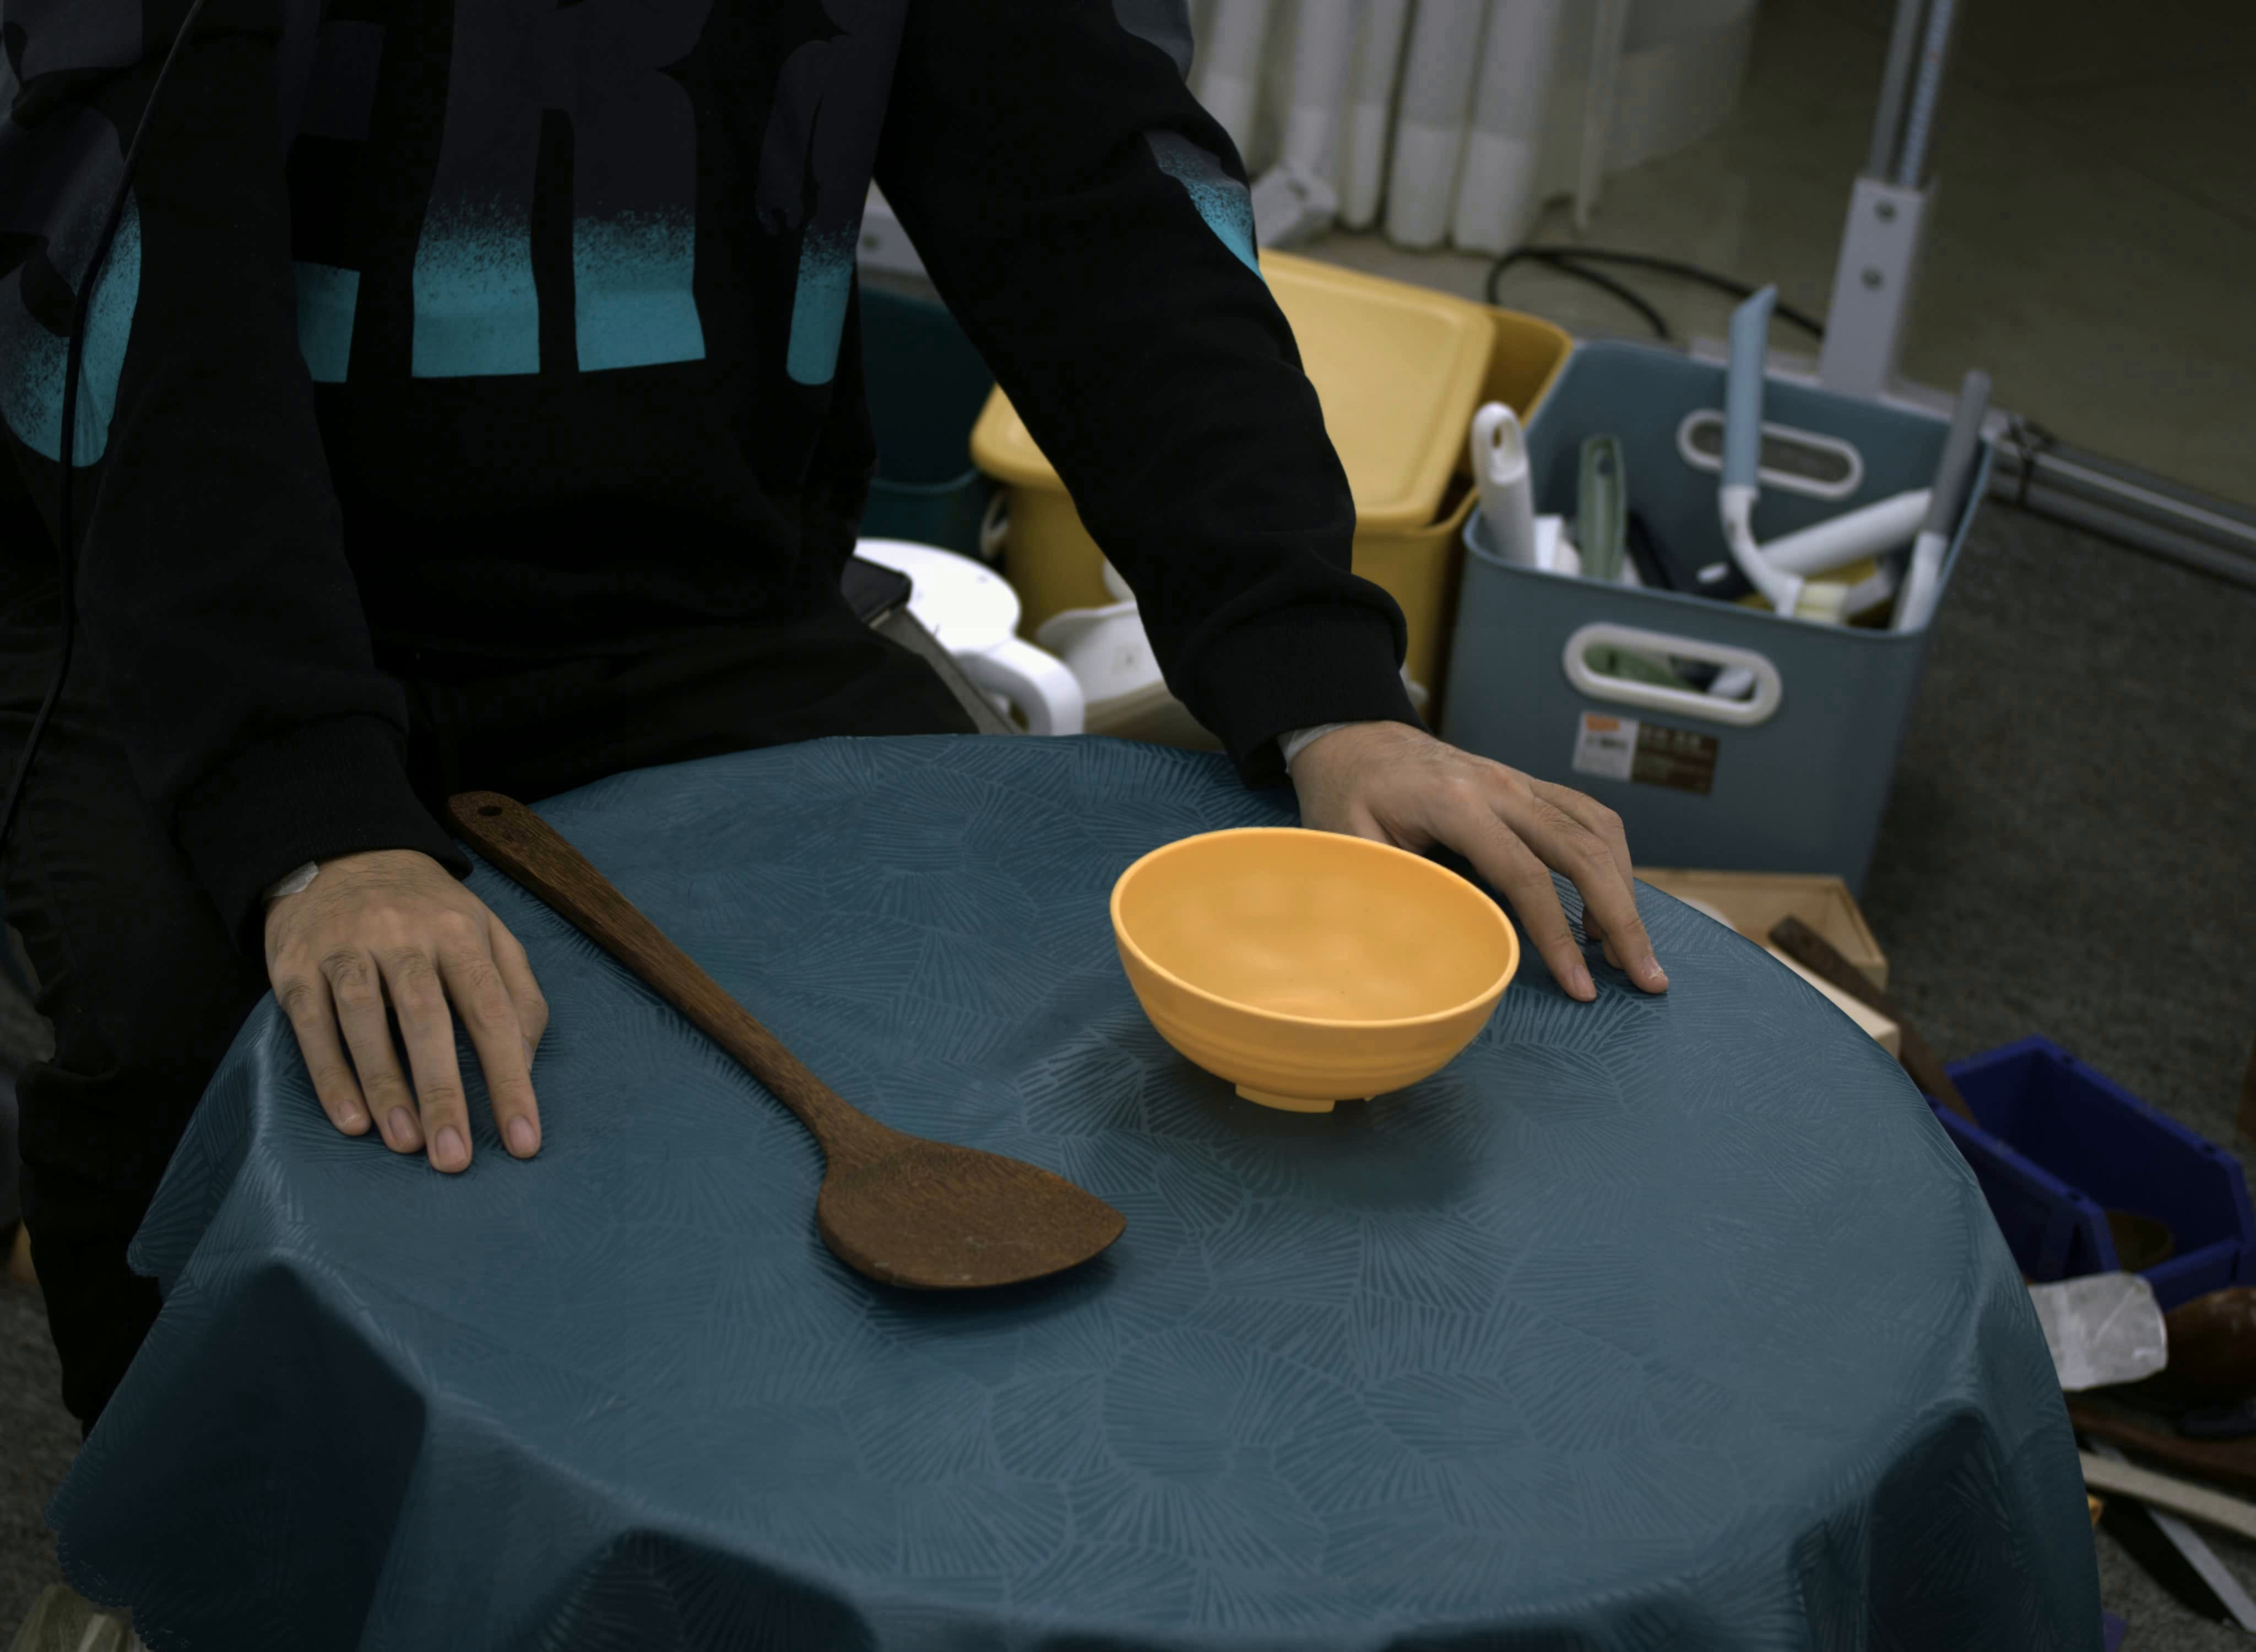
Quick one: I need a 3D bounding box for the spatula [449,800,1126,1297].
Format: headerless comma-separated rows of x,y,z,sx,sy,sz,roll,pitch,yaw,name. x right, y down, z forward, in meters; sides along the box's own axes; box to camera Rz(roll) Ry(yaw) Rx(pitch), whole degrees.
-0.140,0.070,1.862,0.095,0.016,0.389,-12,32,-33,spatula

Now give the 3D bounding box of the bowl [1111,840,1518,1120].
0.062,0.062,1.875,0.145,0.060,0.146,6,24,-3,bowl
